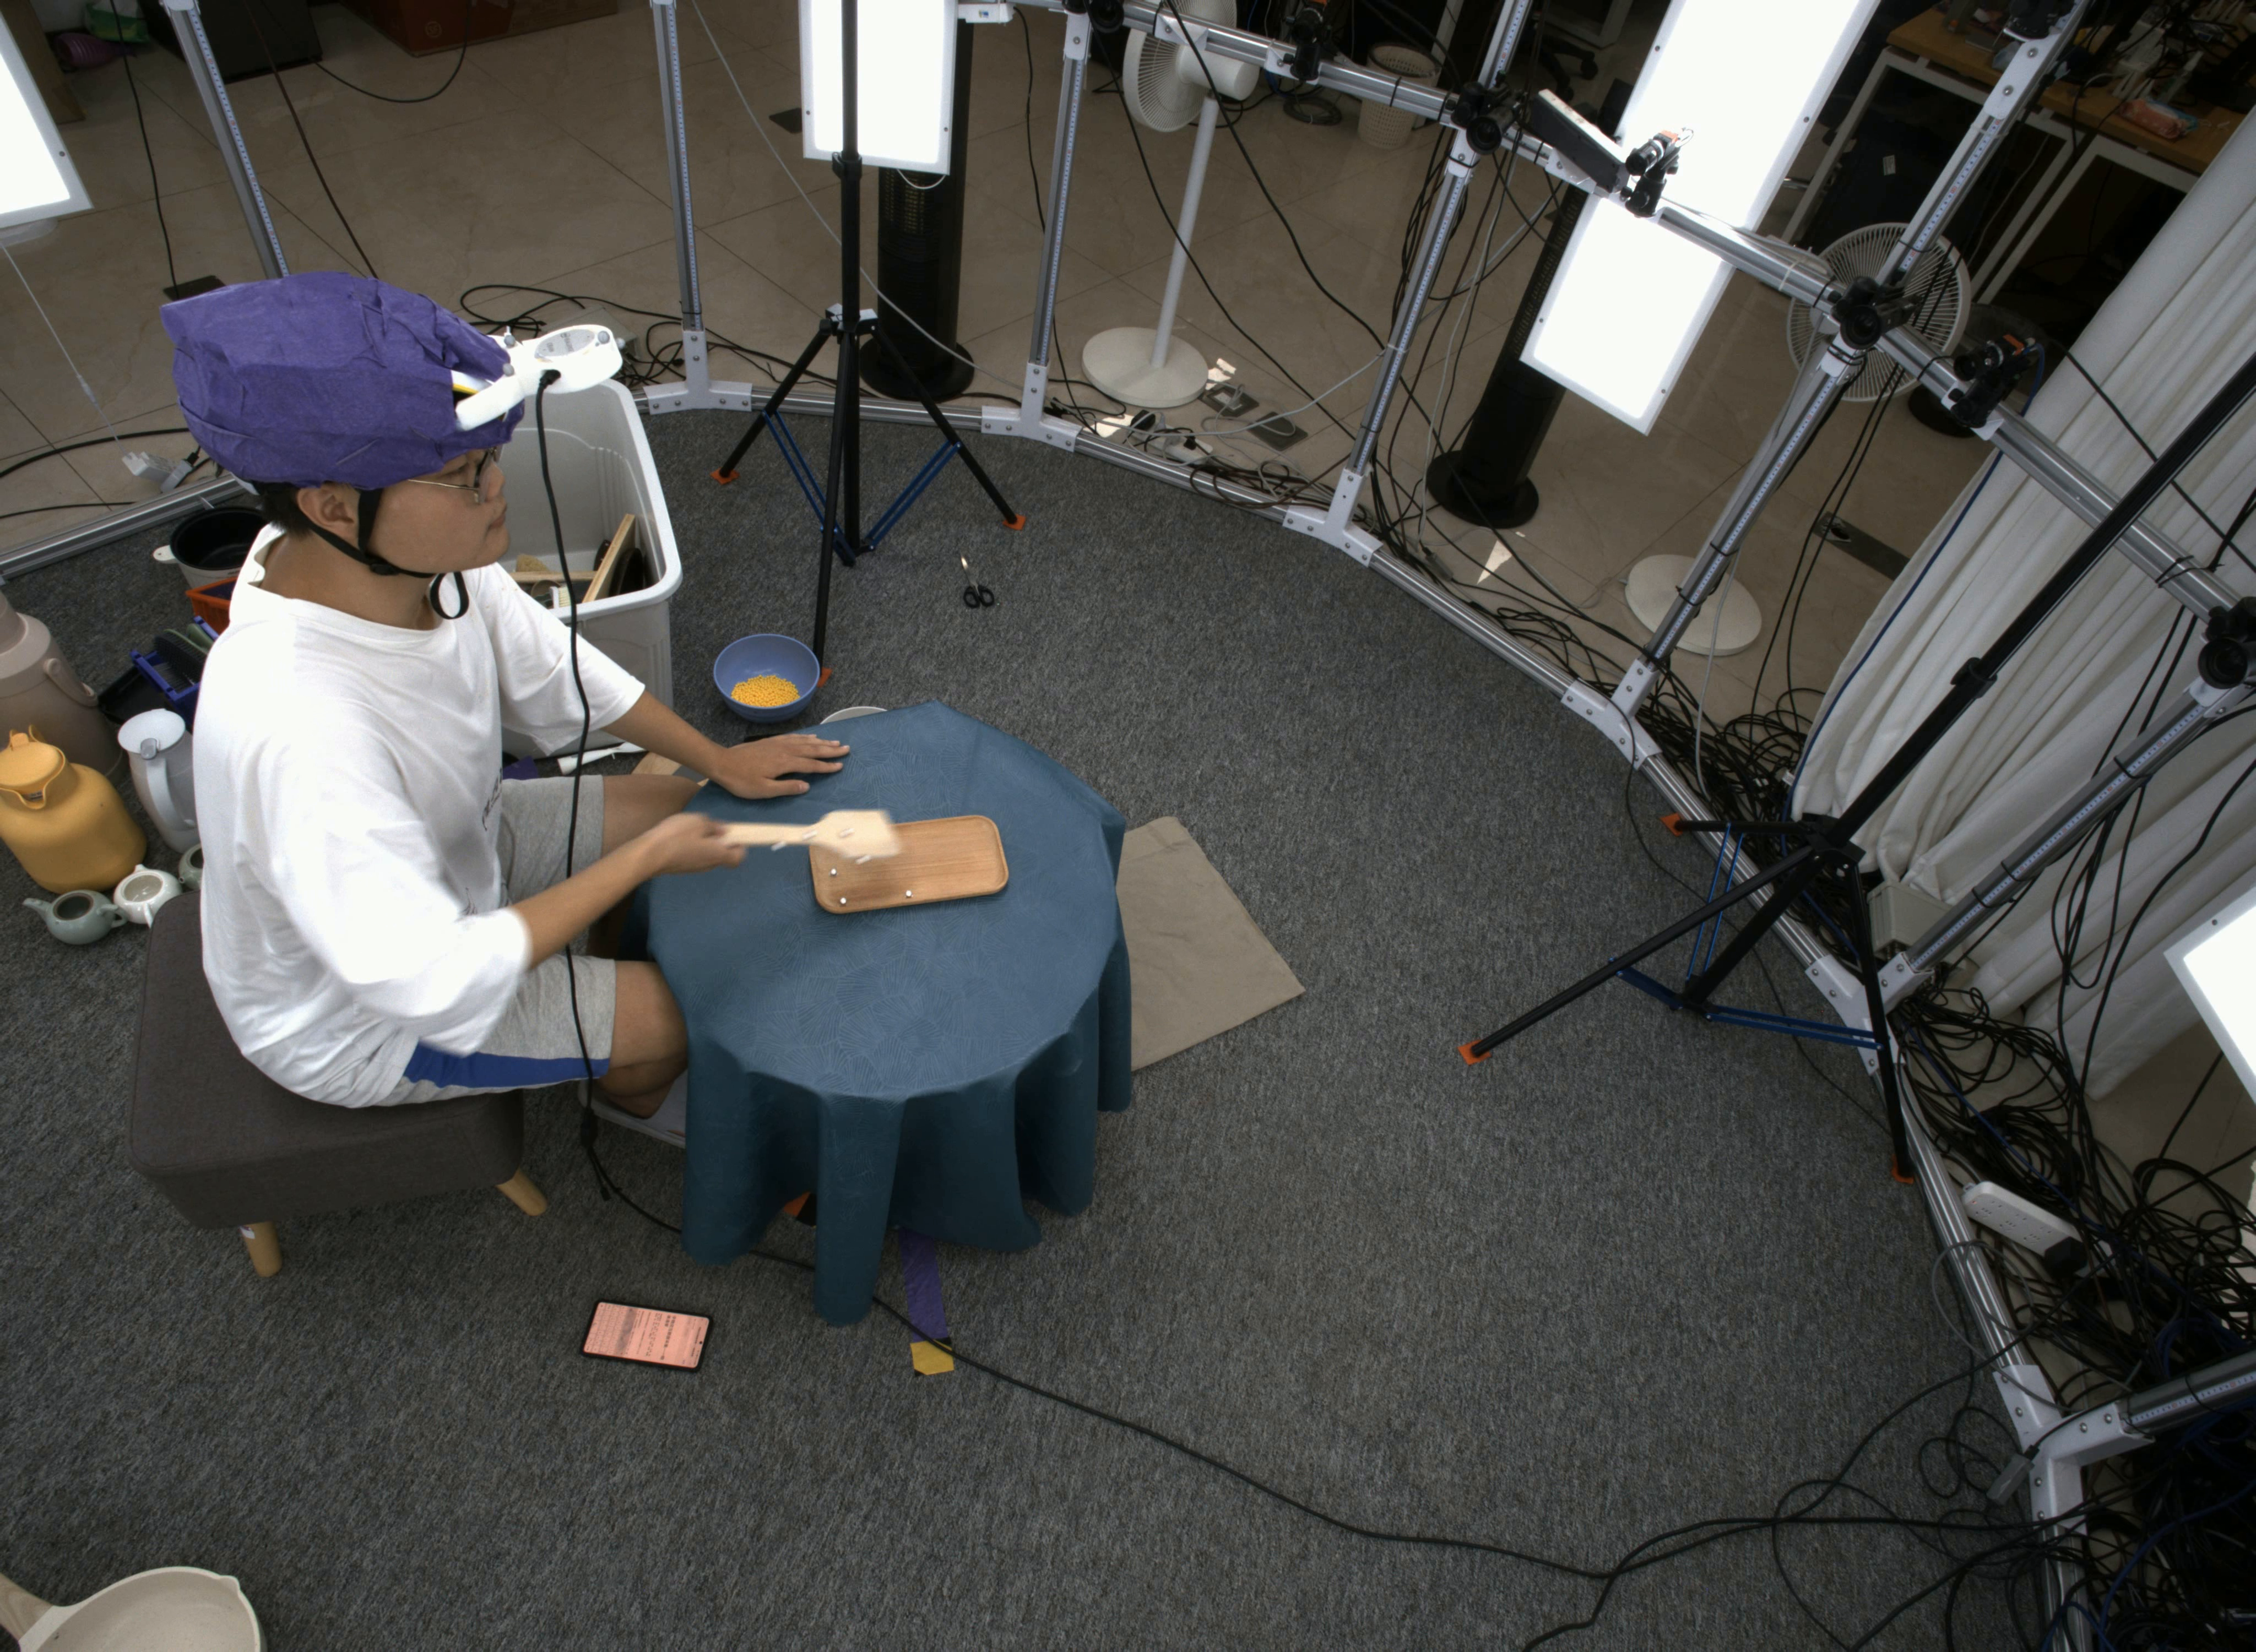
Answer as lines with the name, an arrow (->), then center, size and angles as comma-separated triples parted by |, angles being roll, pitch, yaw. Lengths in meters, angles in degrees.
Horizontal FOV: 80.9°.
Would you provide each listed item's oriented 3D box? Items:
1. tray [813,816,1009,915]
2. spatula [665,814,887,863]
tray -> -0.286, 0.050, 1.720 | 0.251, 0.023, 0.128 | -6, 58, -17
spatula -> -0.417, 0.014, 1.548 | 0.299, 0.010, 0.071 | 0, 55, -49
